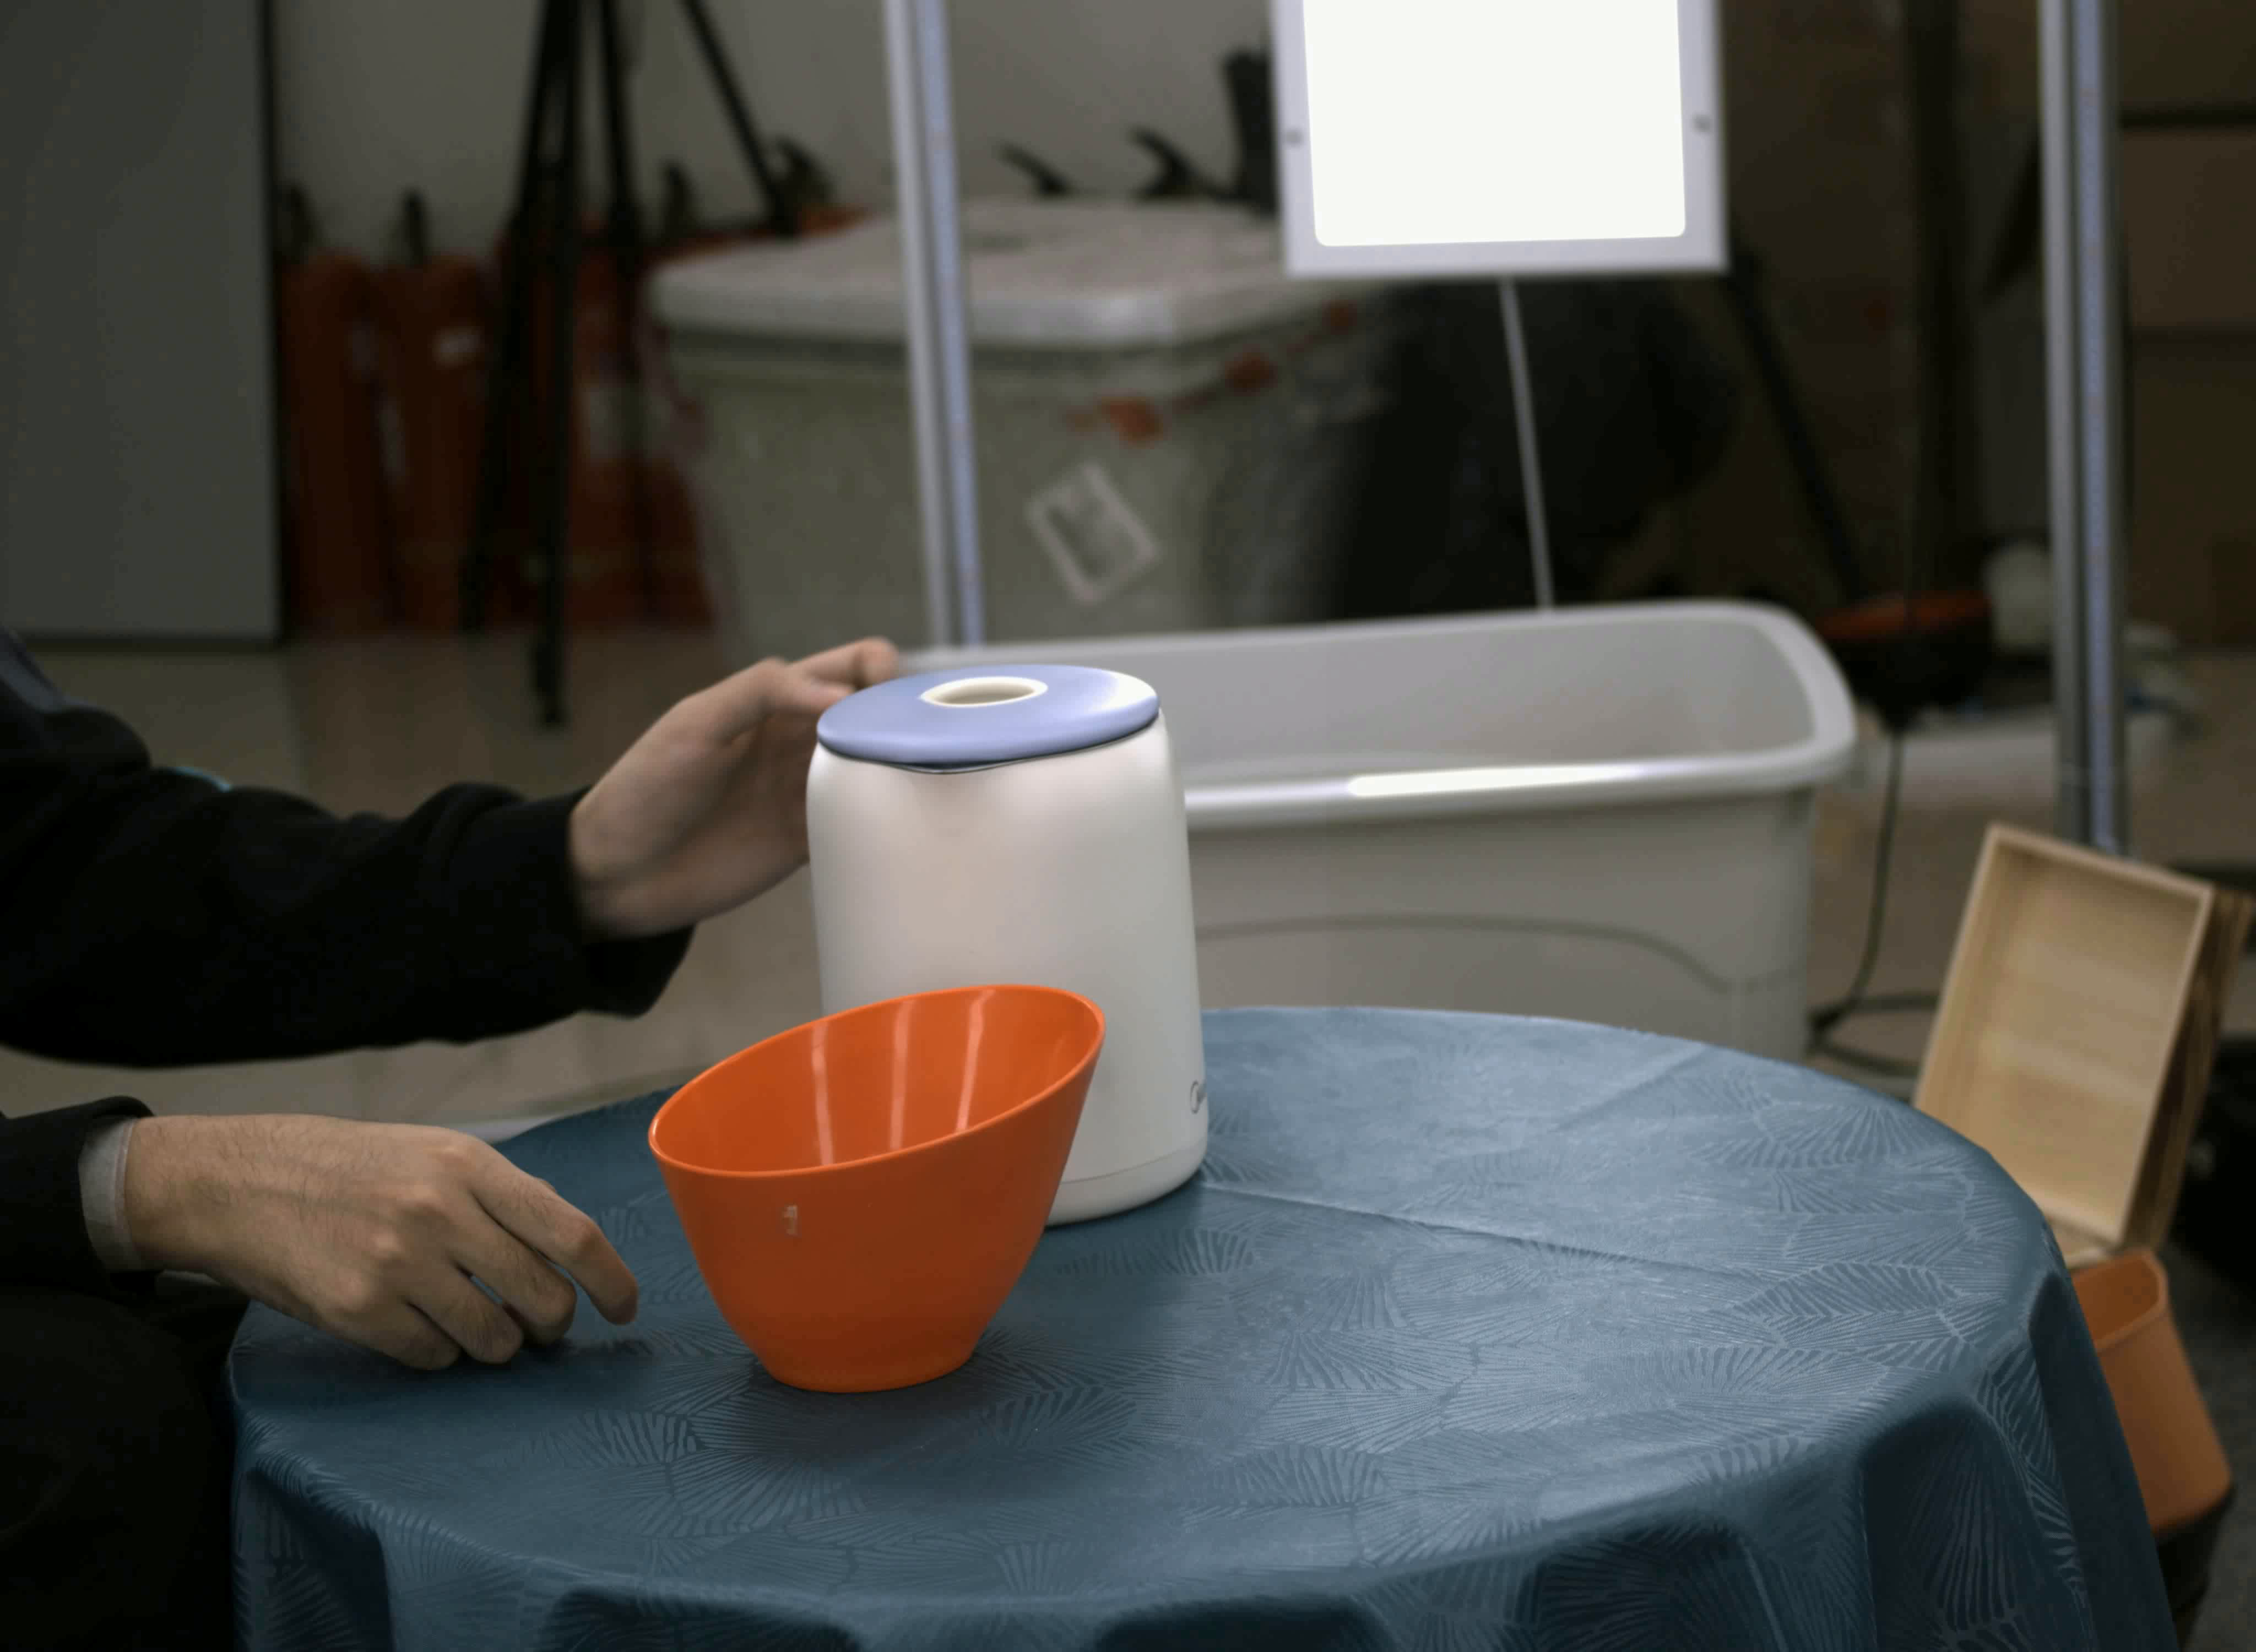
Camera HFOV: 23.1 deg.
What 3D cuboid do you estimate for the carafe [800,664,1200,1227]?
[{"bbox_3d":[-0.040,0.036,1.923,0.133,0.183,0.189,-1,12,11],"label":"carafe"}]

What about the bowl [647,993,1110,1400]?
[{"bbox_3d":[-0.075,0.120,1.739,0.147,0.105,0.148,-4,14,0],"label":"bowl"}]
